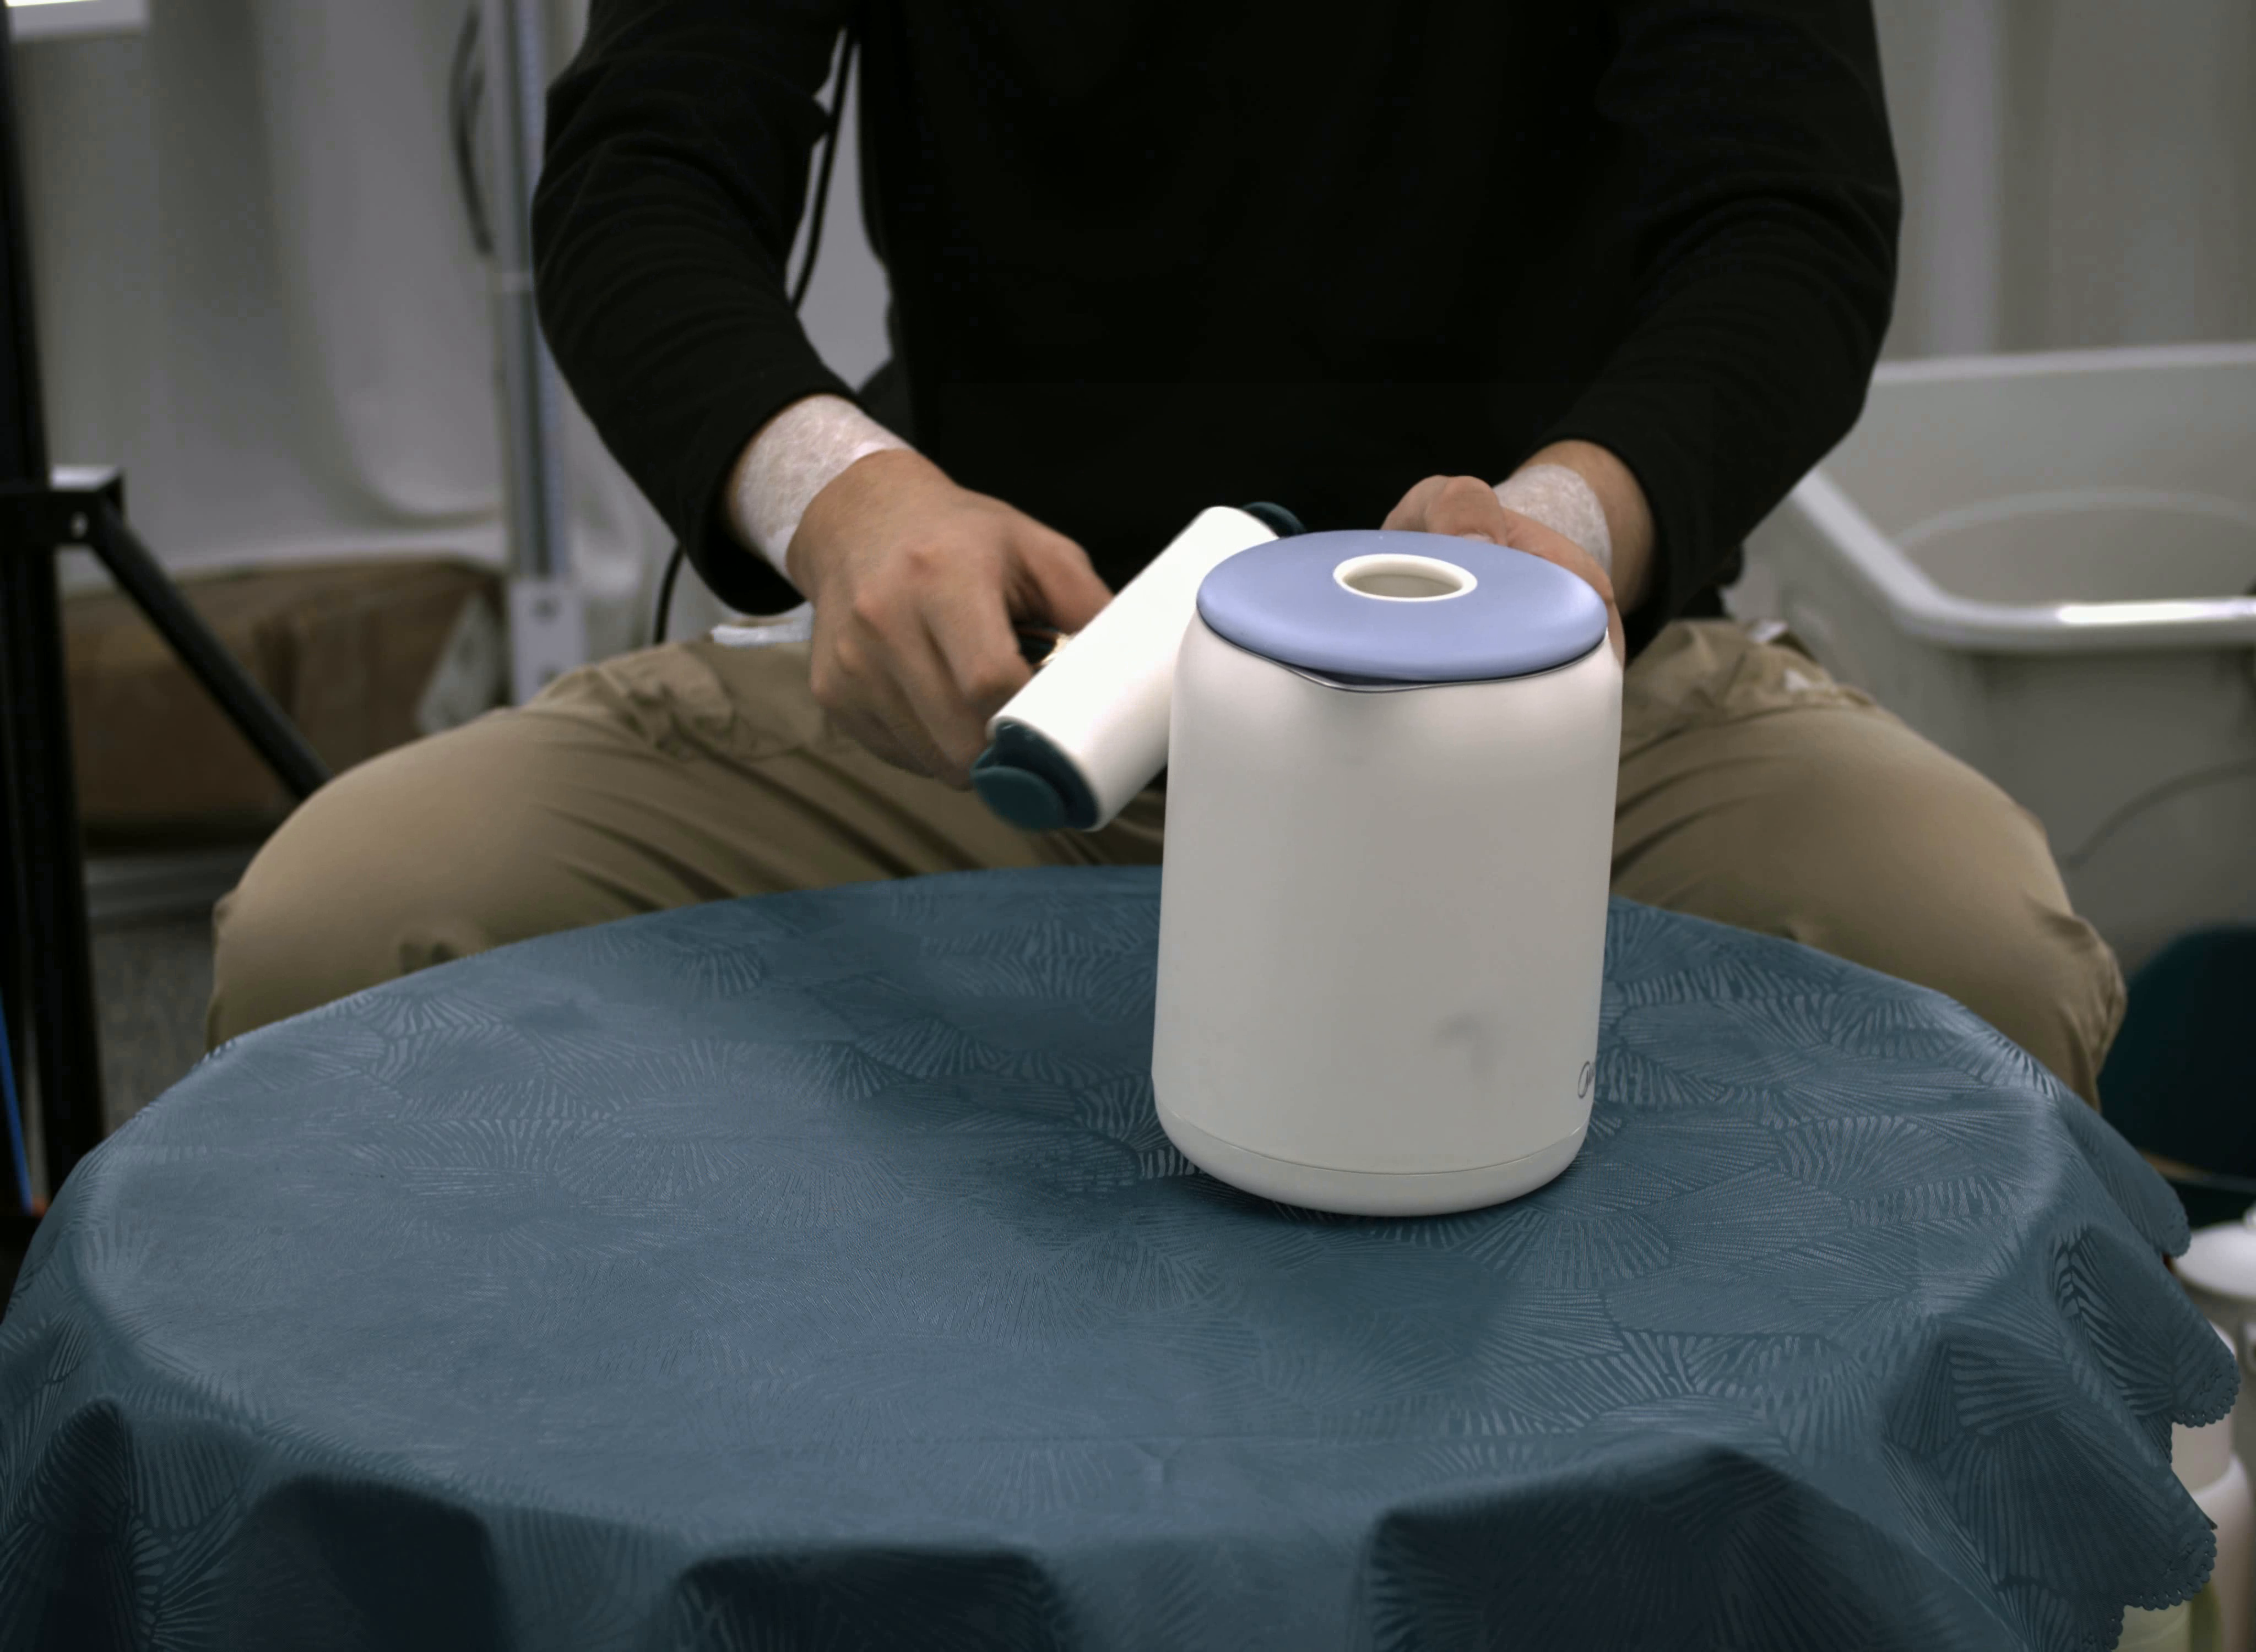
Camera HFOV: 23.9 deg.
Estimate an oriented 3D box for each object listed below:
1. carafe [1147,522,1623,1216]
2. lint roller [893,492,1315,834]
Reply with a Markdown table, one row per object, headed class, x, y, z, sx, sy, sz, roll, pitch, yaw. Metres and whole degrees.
| class | x | y | z | sx | sy | sz | roll | pitch | yaw |
| --- | --- | --- | --- | --- | --- | --- | --- | --- | --- |
| carafe | 0.081 | 0.004 | 1.568 | 0.133 | 0.182 | 0.190 | 8 | 19 | 12 |
| lint roller | -0.029 | -0.055 | 1.666 | 0.133 | 0.047 | 0.184 | -44 | 28 | -23 |
